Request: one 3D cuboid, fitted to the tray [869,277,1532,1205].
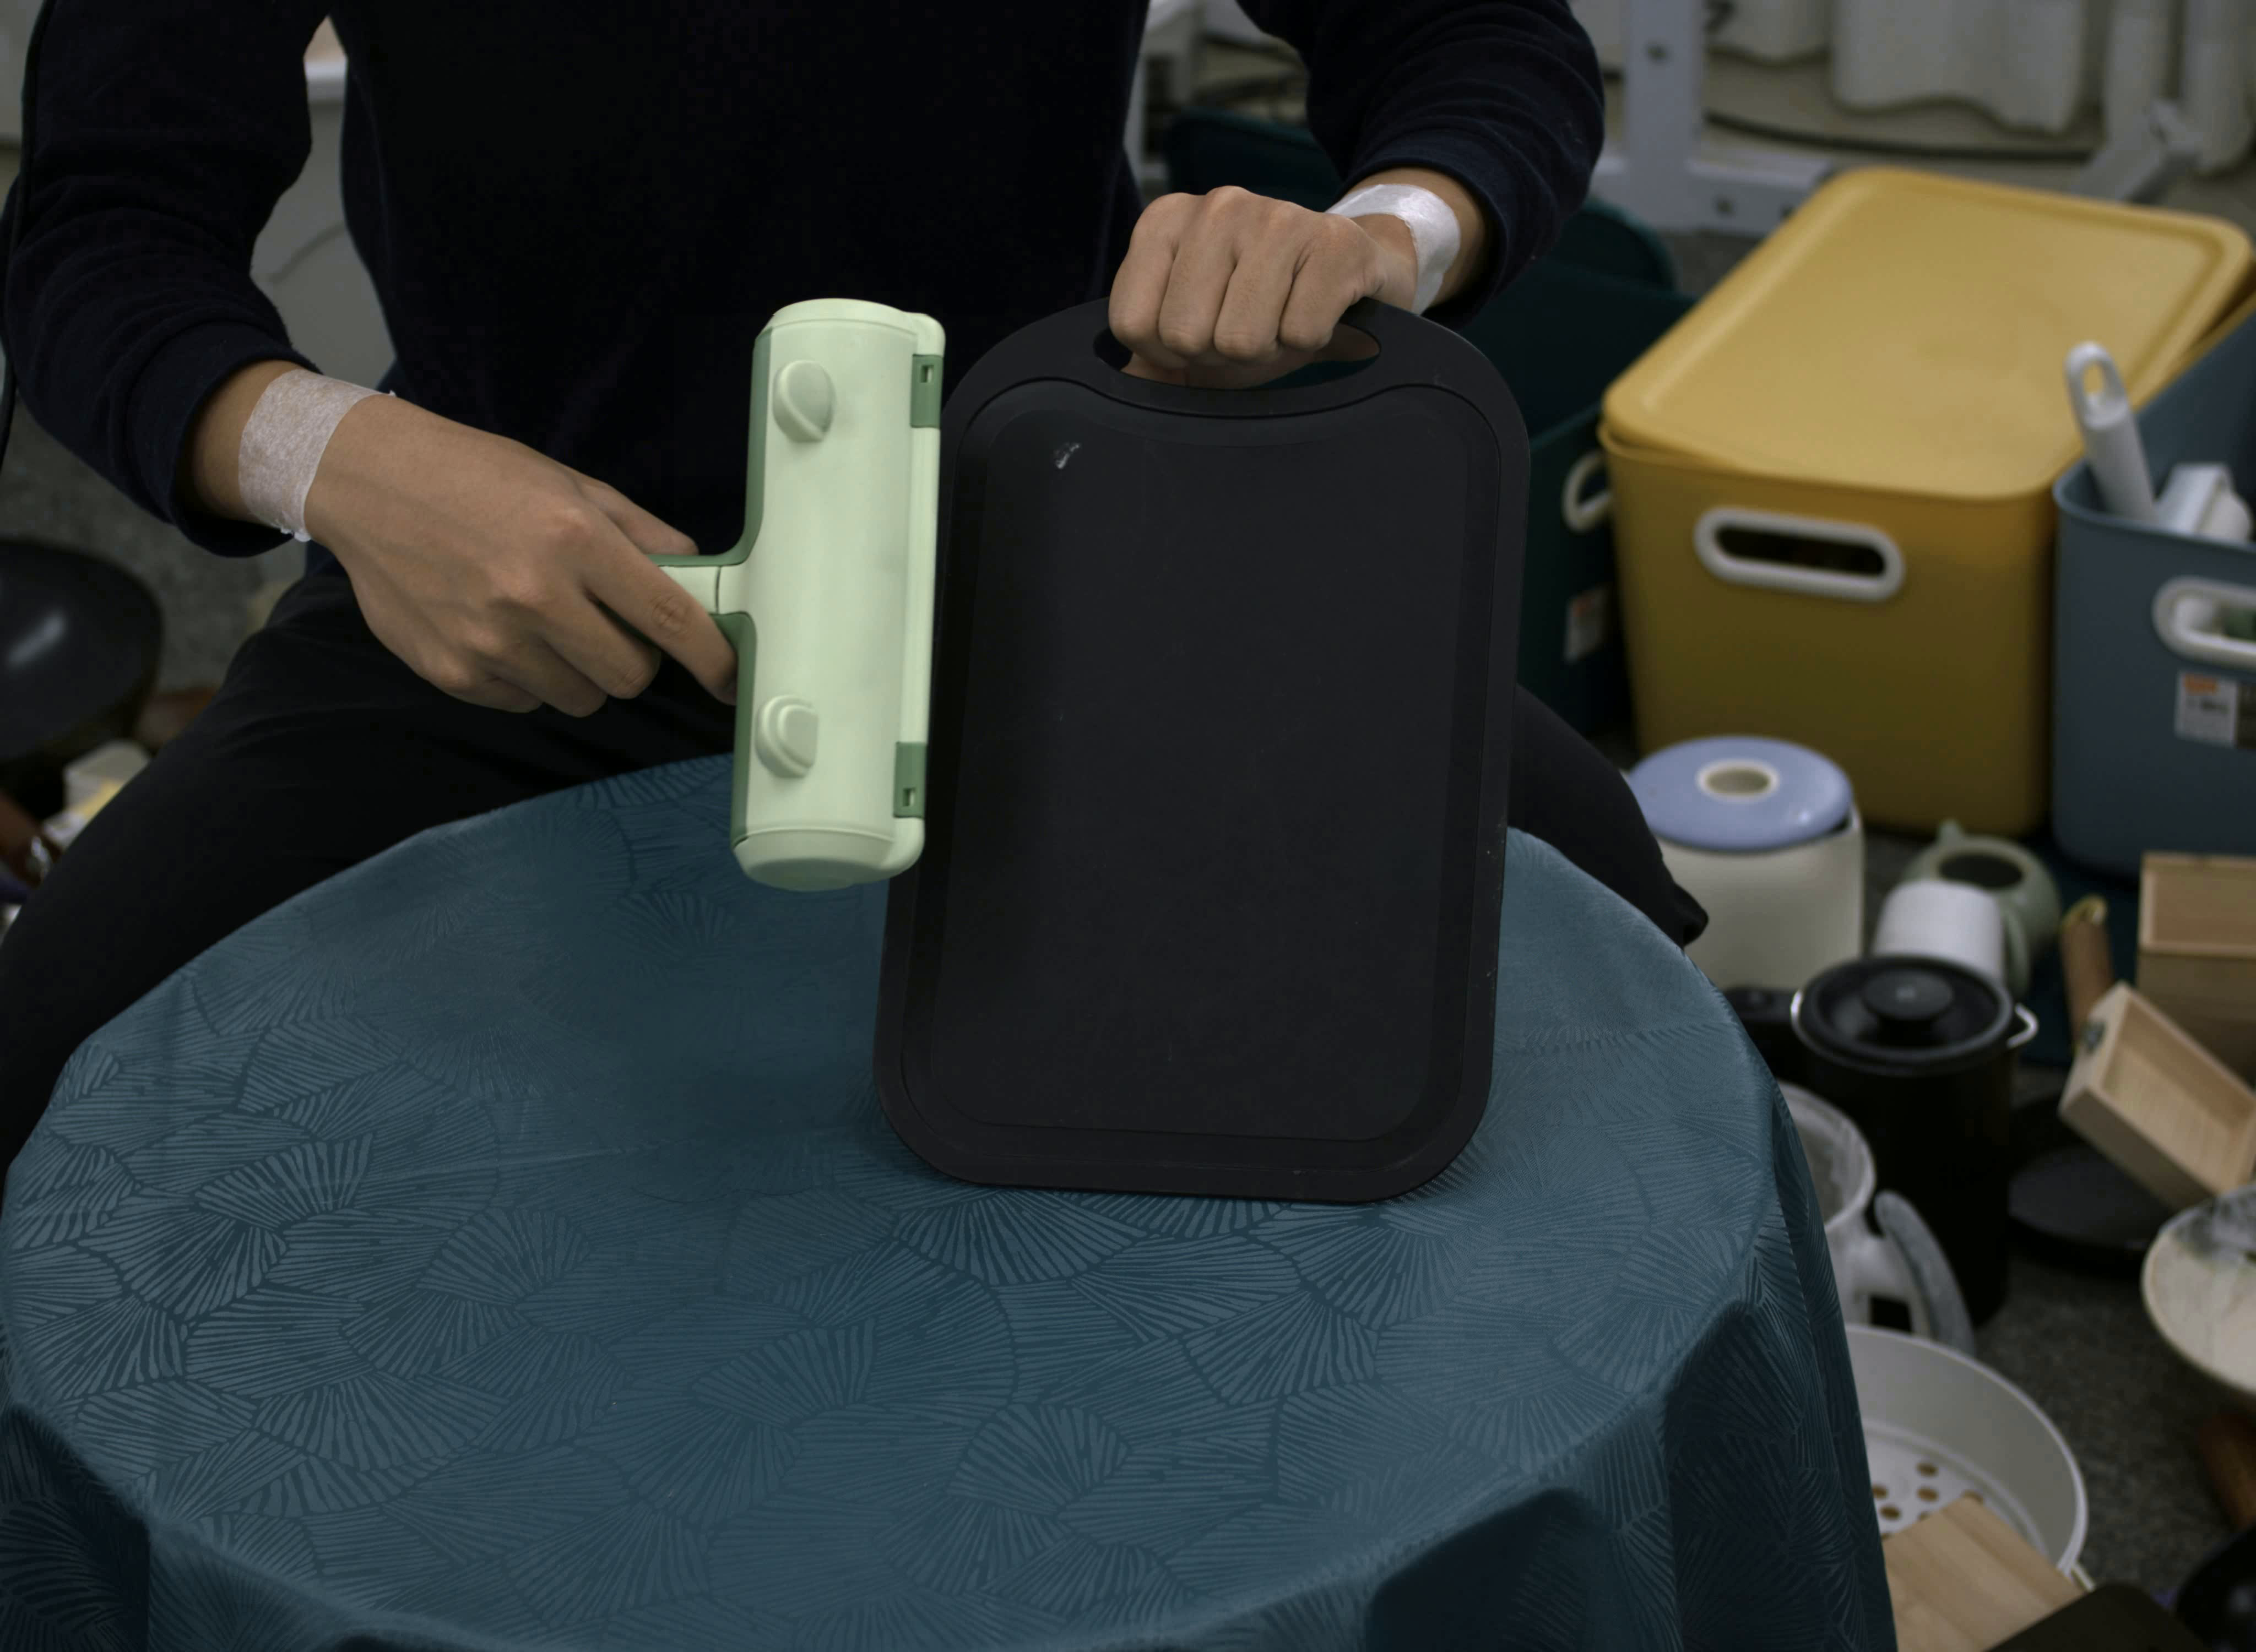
[{"bbox_3d":[0.025,-0.034,1.905,0.210,0.330,0.010,2,-18,9],"label":"tray"}]

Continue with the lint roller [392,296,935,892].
[{"bbox_3d":[-0.158,-0.080,1.869,0.182,0.201,0.081,1,-17,1],"label":"lint roller"}]
